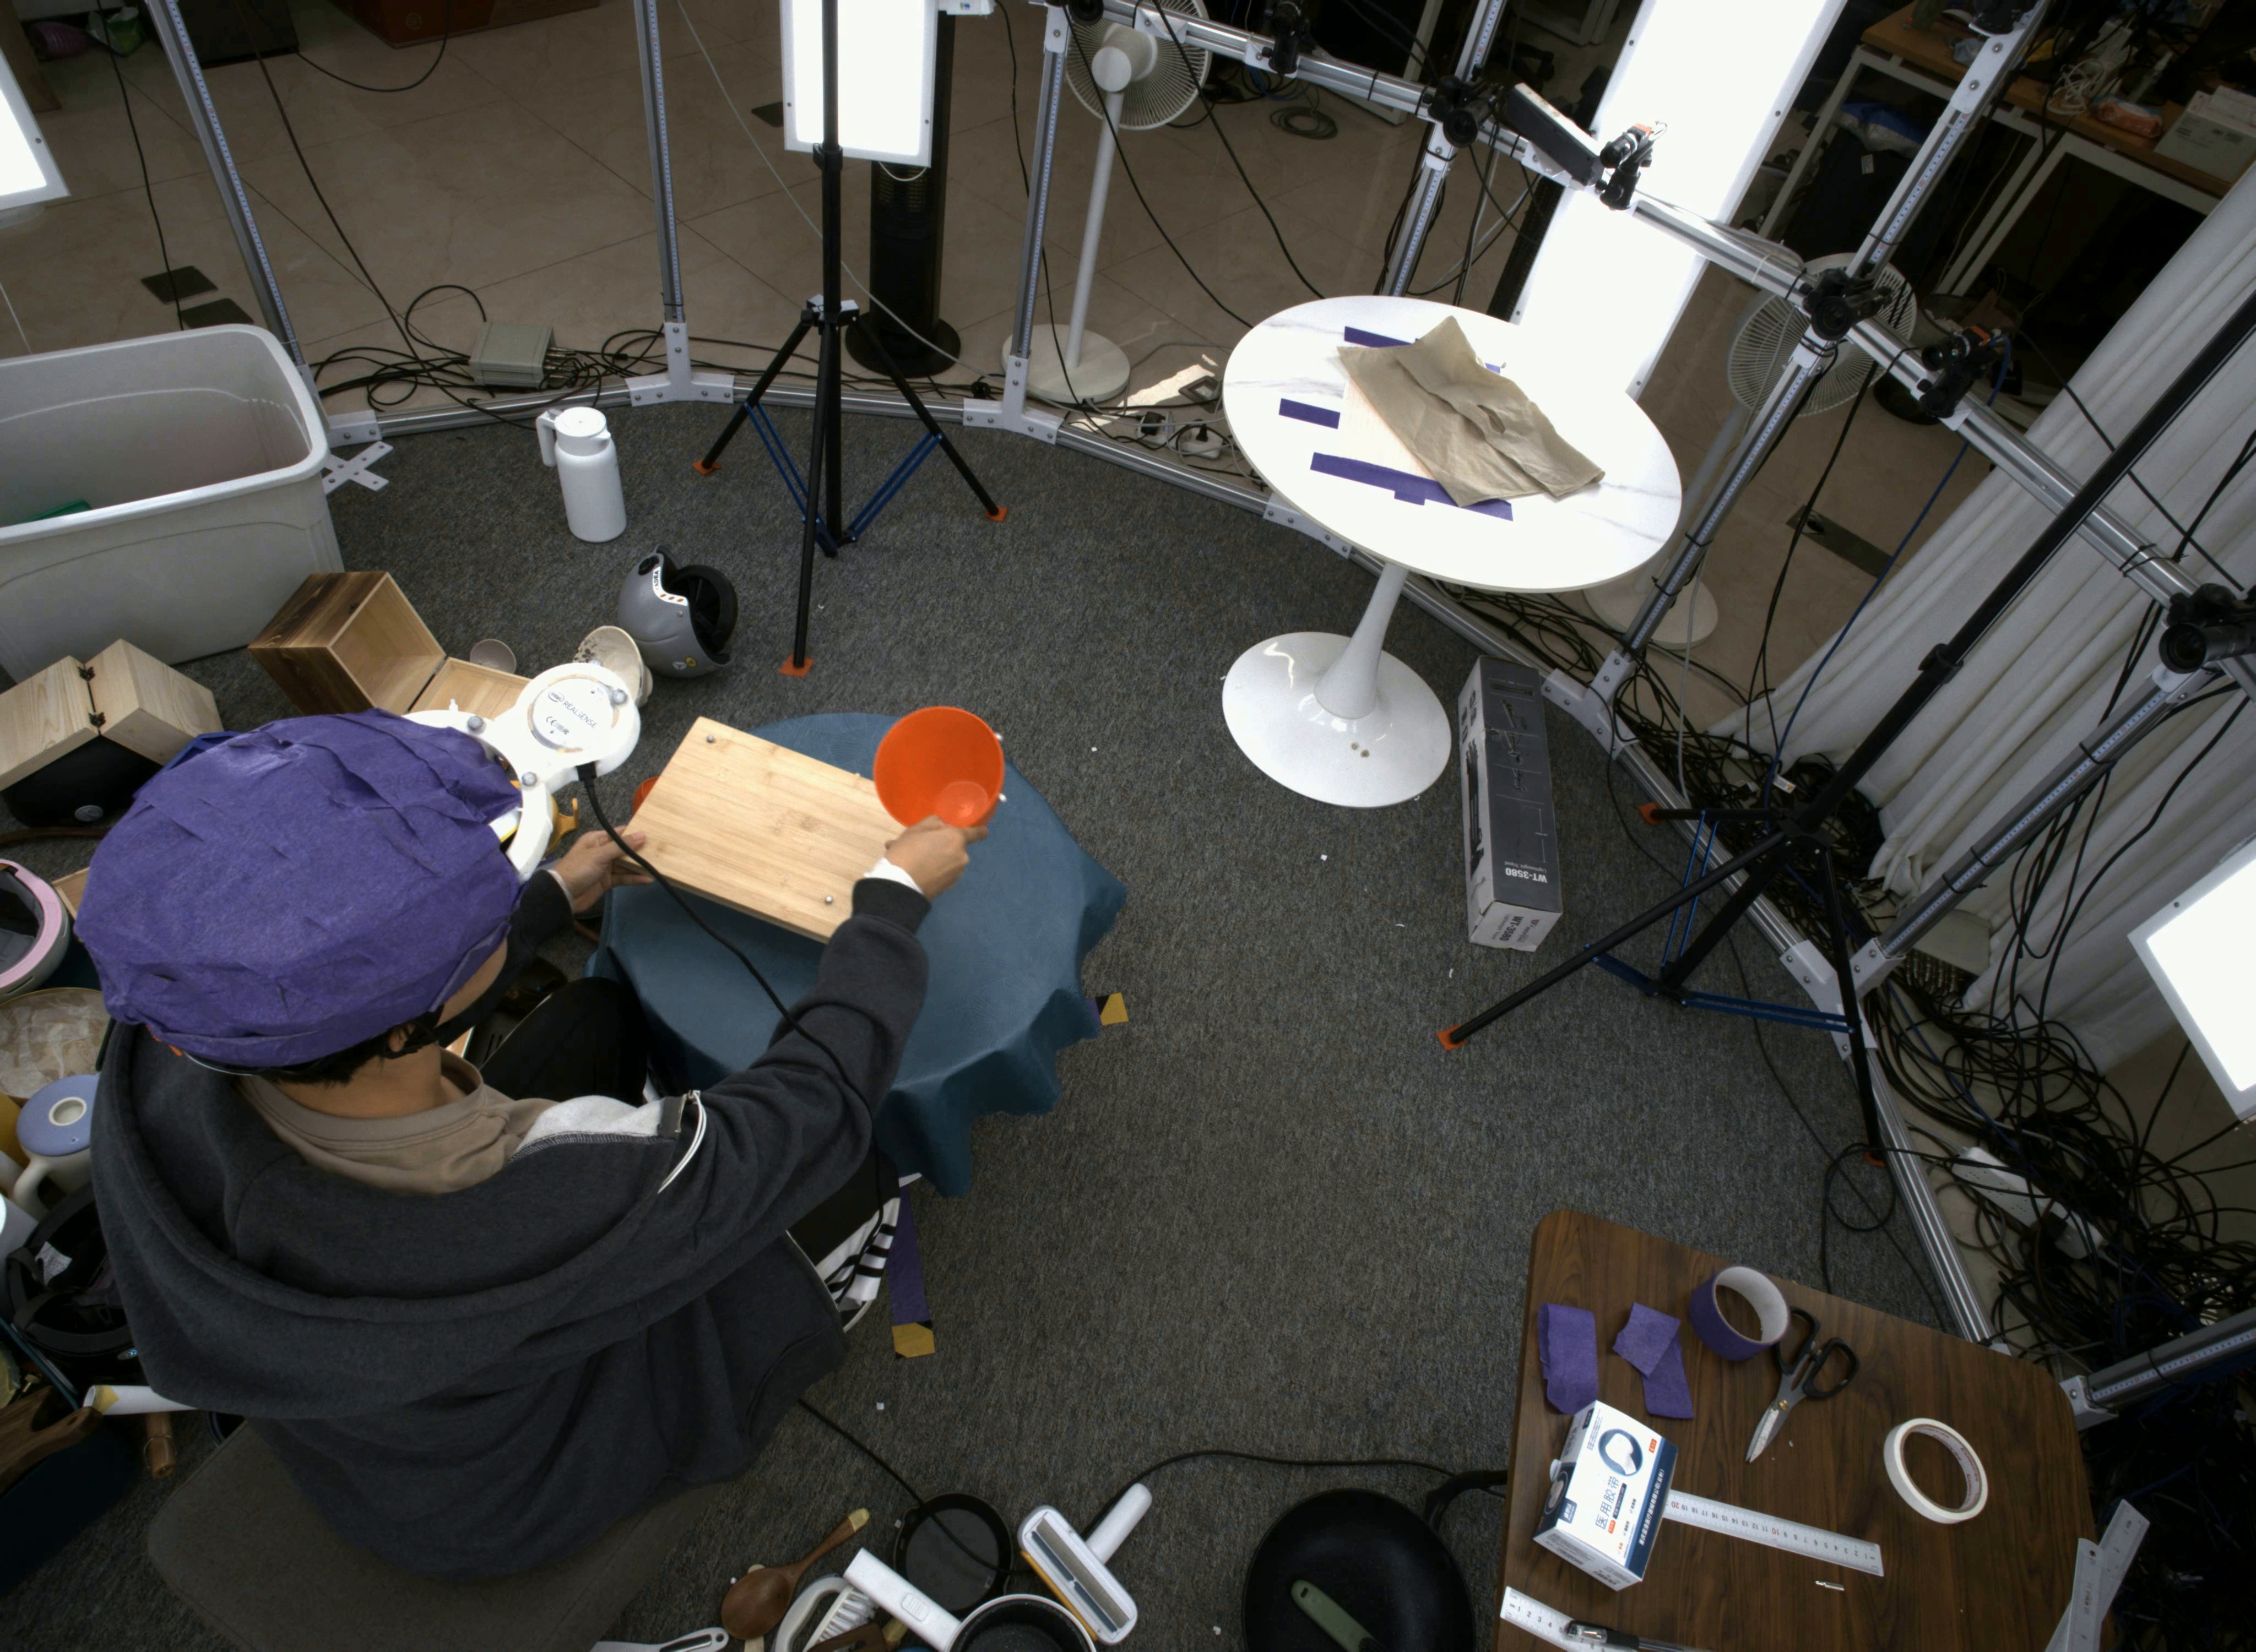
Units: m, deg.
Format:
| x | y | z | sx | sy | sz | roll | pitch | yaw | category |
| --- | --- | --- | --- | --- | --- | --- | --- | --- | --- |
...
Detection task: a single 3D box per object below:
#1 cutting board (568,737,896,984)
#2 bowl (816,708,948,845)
| x | y | z | sx | sy | sz | roll | pitch | yaw | category |
| --- | --- | --- | --- | --- | --- | --- | --- | --- | --- |
| -0.477 | 0.035 | 1.580 | 0.348 | 0.024 | 0.247 | 18 | 52 | -7 | cutting board |
| -0.265 | -0.044 | 1.465 | 0.145 | 0.107 | 0.147 | -2 | 69 | 7 | bowl |
